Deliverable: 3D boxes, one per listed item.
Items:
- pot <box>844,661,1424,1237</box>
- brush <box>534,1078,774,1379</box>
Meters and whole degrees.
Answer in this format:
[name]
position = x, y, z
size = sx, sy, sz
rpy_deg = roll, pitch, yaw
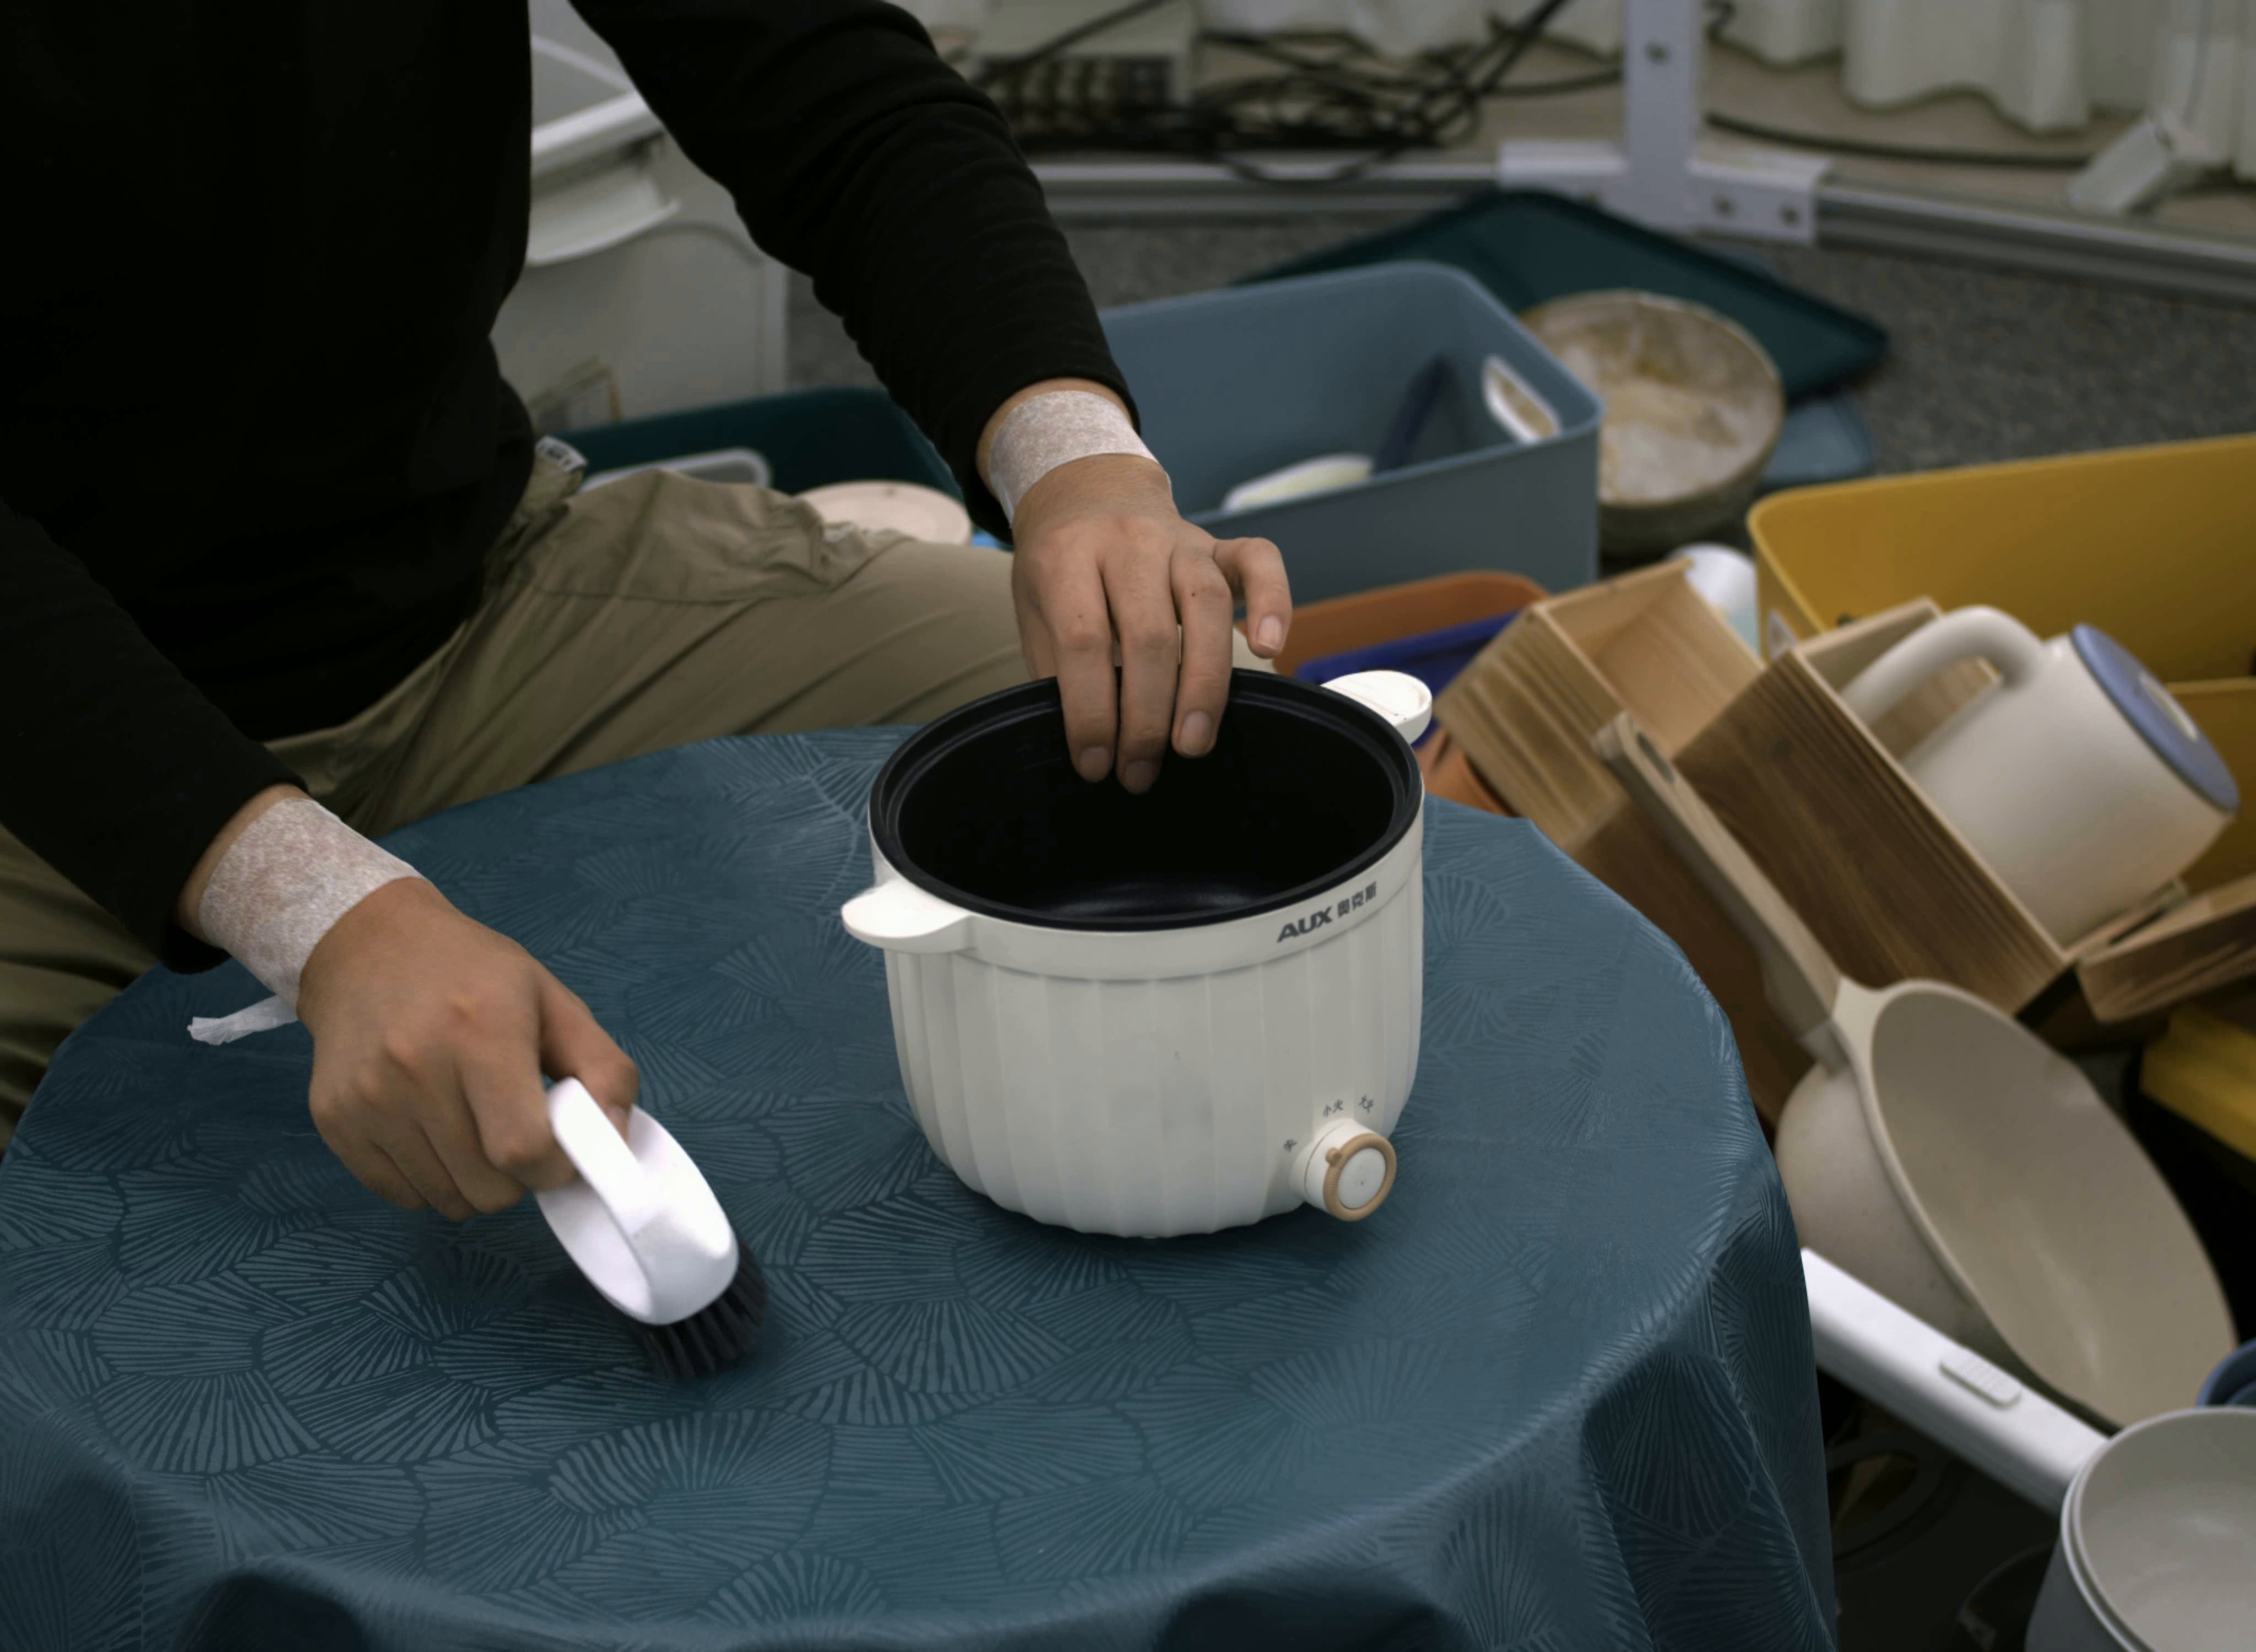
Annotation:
[pot]
position = 0.013, 0.046, 1.857
size = 0.243, 0.141, 0.190
rpy_deg = -25, 31, -34
[brush]
position = -0.158, 0.120, 1.781
size = 0.050, 0.071, 0.100
rpy_deg = -32, 43, -9
